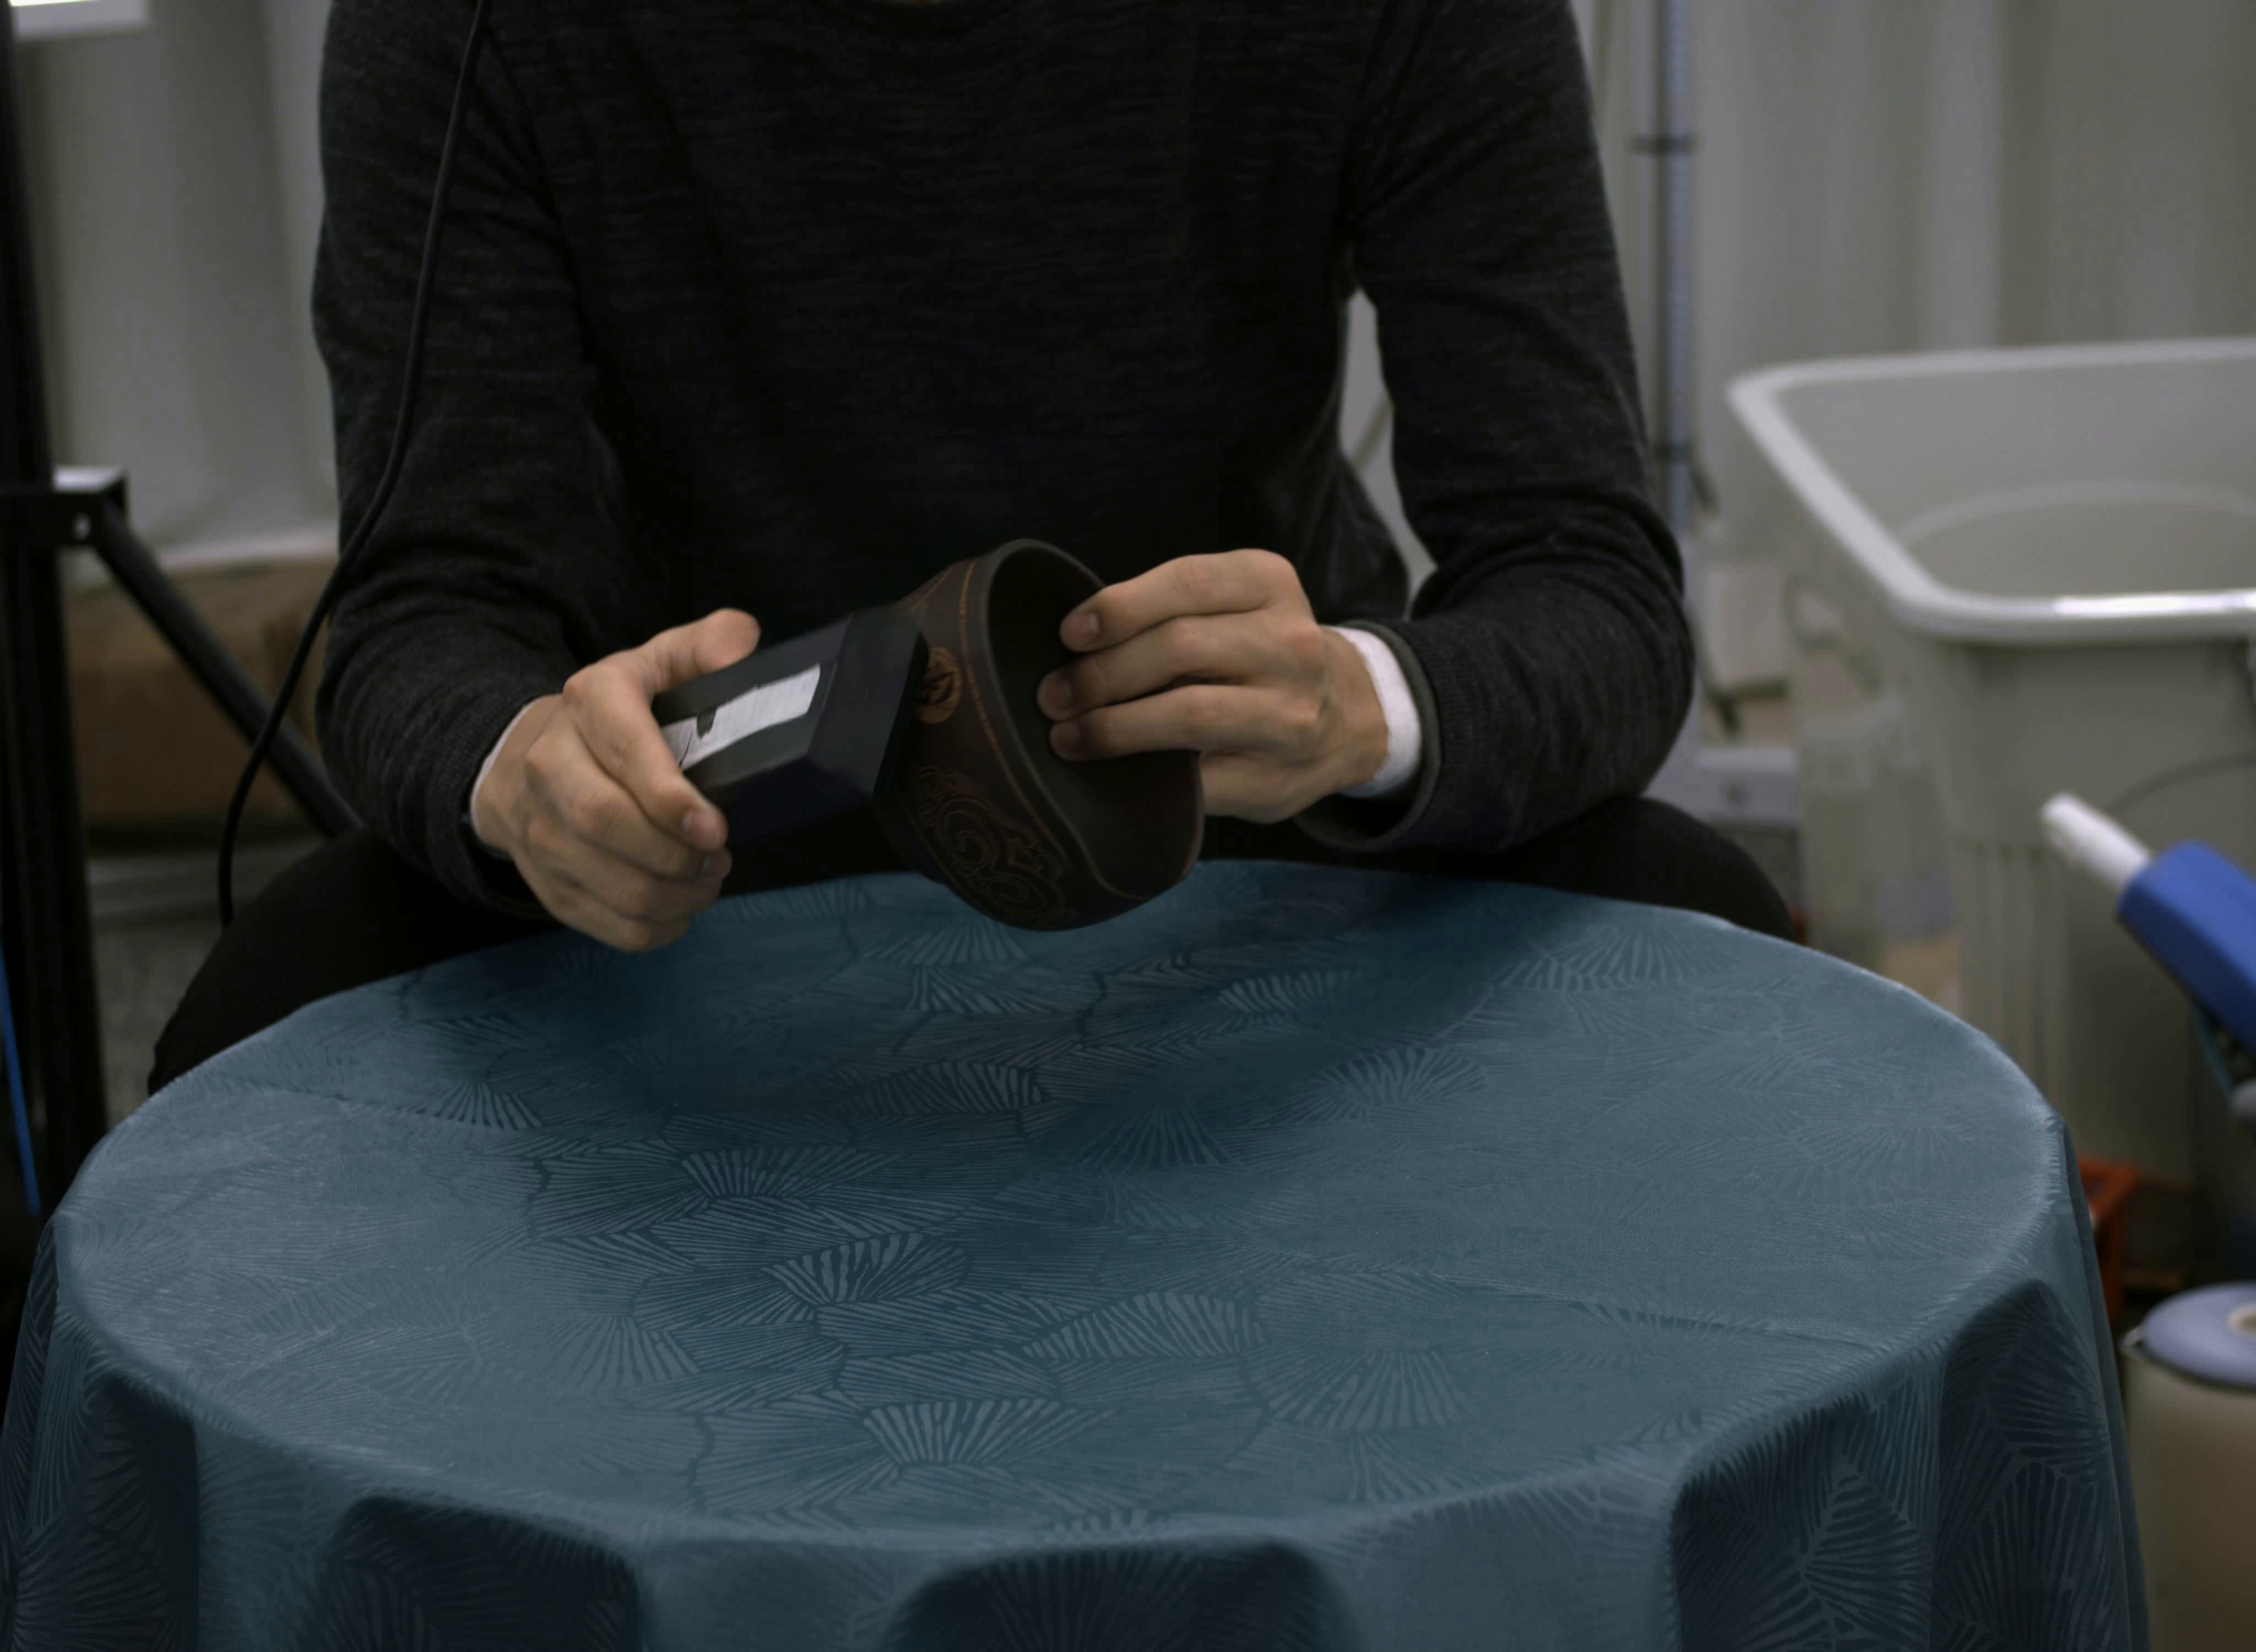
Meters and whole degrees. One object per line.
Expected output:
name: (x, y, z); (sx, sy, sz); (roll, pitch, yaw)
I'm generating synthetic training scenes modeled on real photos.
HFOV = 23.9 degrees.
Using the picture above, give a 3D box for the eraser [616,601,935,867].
eraser: (-0.106, -0.027, 1.591); (0.030, 0.054, 0.127); (30, -27, -25)

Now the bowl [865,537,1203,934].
bowl: (-0.037, -0.021, 1.612); (0.070, 0.118, 0.116); (-26, 4, 26)
